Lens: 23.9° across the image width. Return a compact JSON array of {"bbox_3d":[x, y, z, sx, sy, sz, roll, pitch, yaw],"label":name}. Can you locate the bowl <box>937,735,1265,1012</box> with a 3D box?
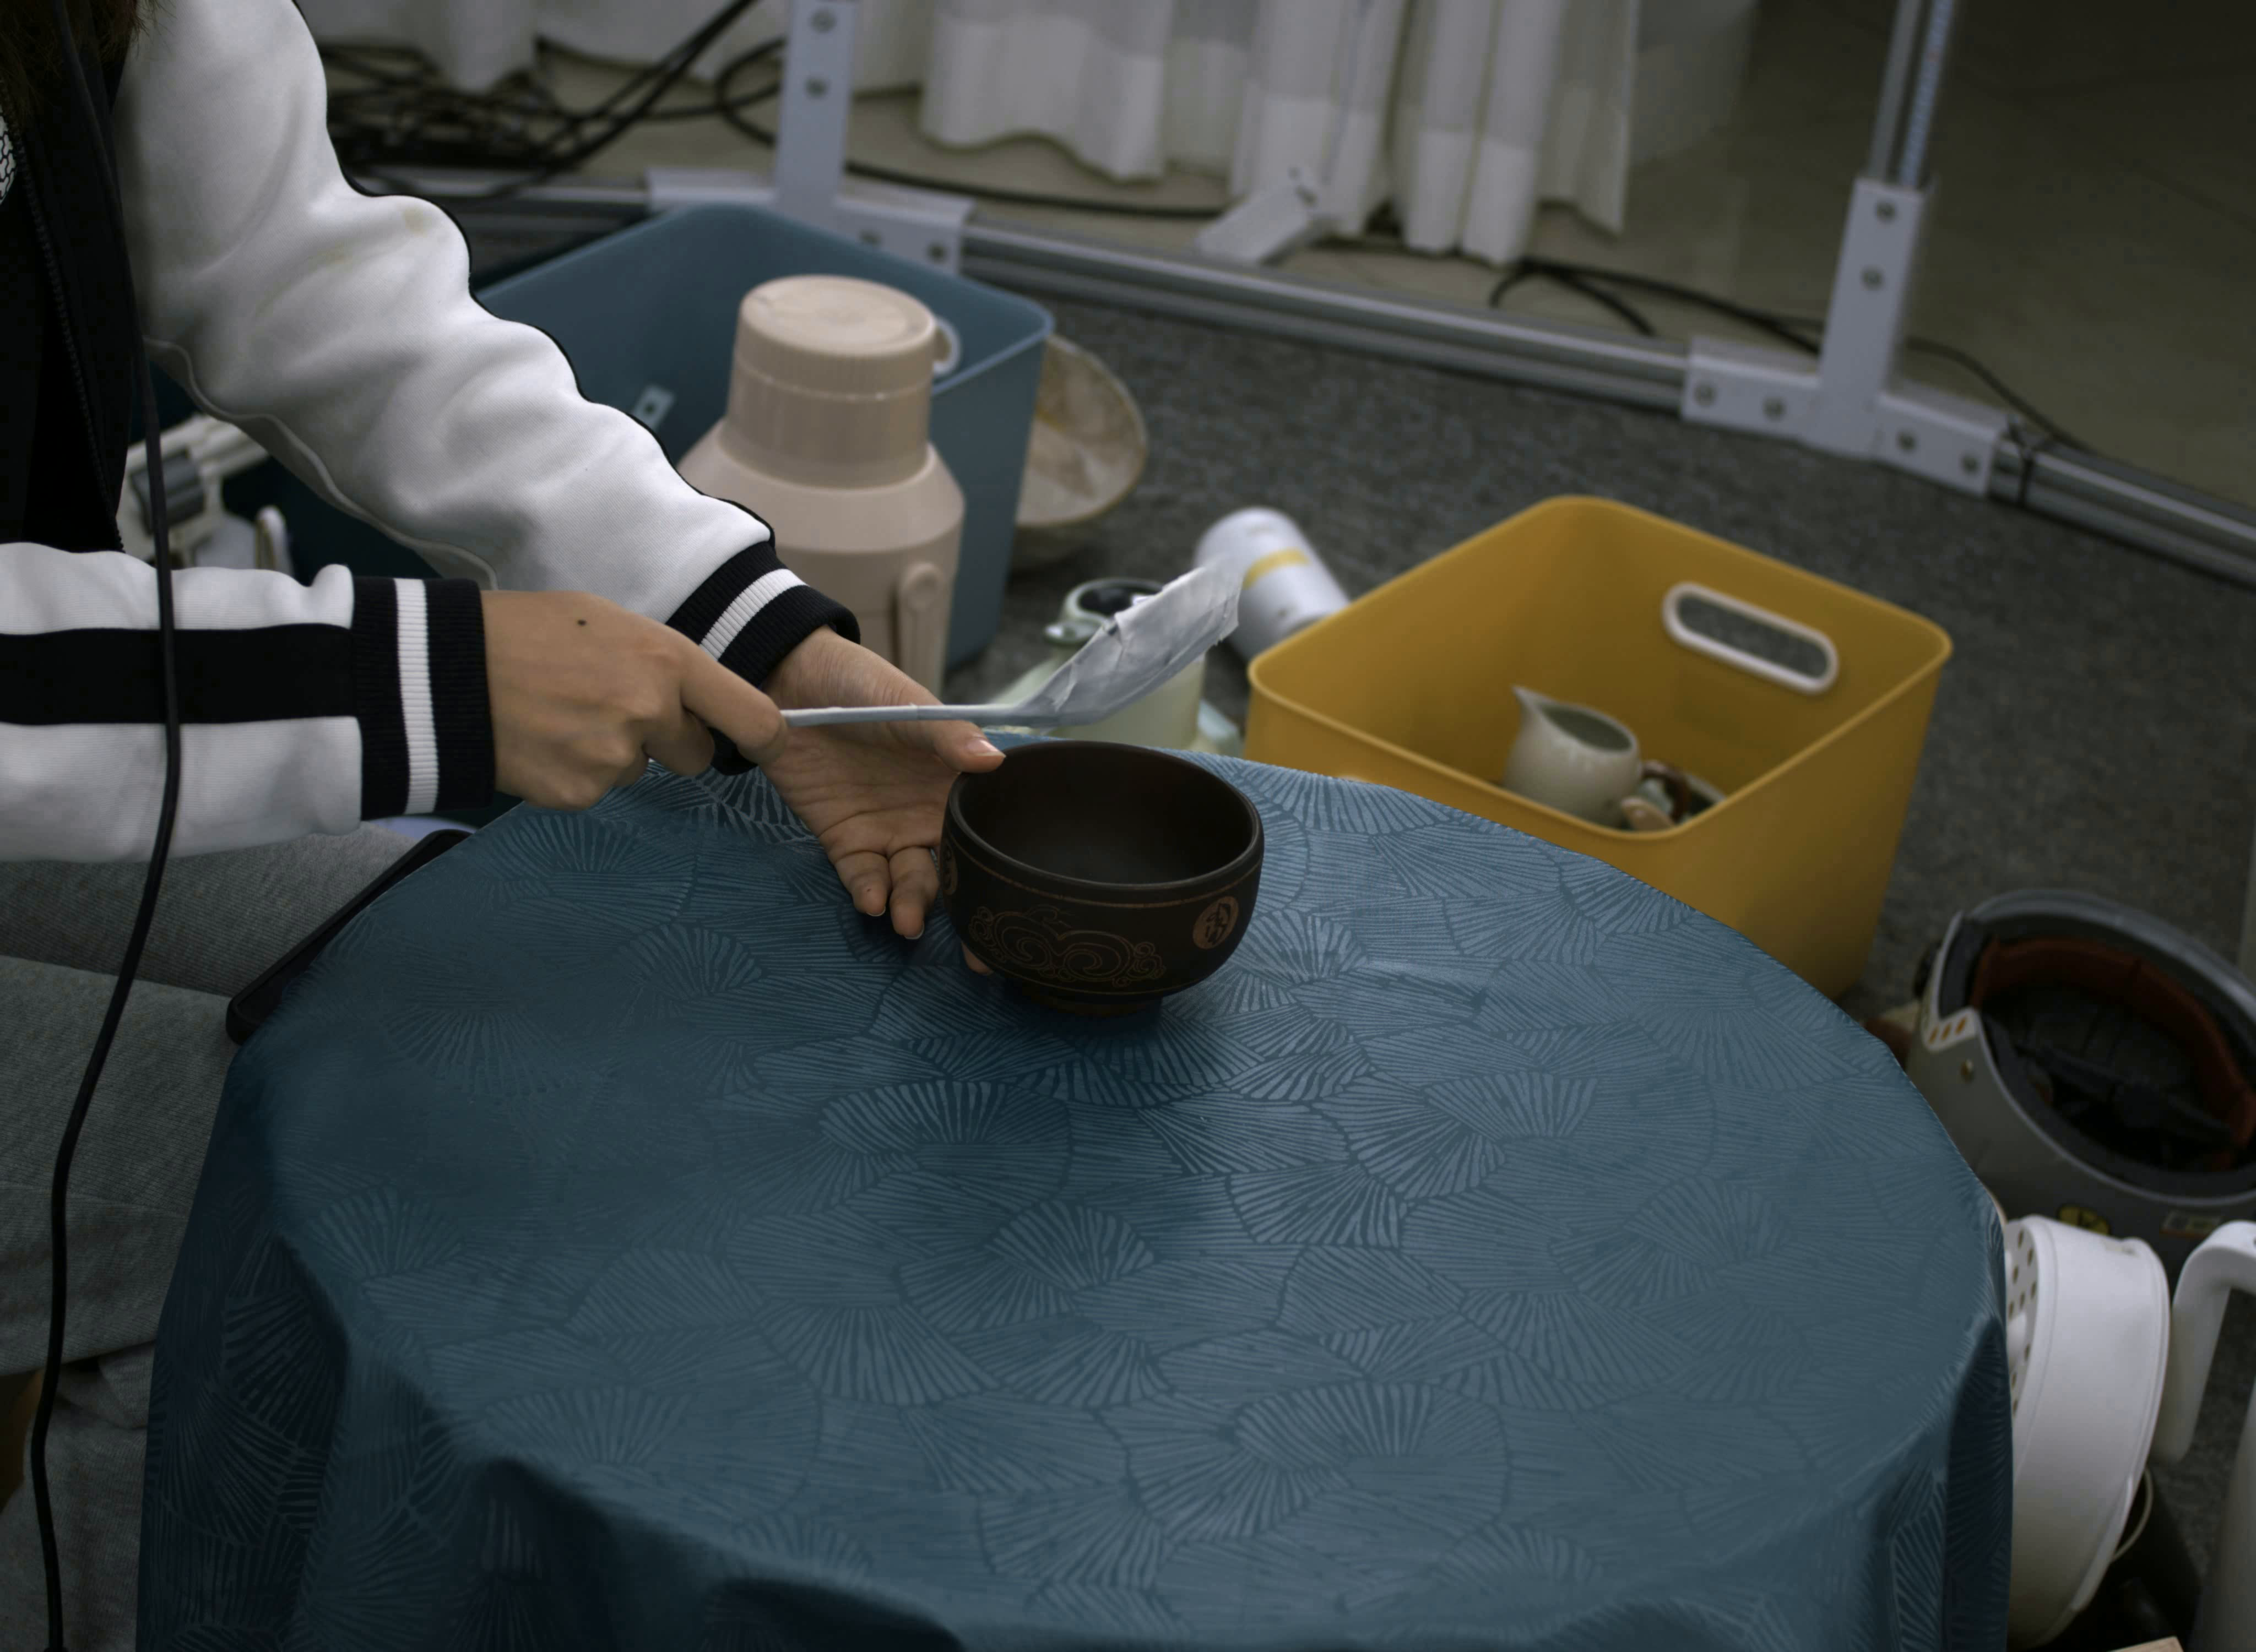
[{"bbox_3d":[-0.012,0.023,1.916,0.117,0.069,0.119,5,26,-3],"label":"bowl"}]

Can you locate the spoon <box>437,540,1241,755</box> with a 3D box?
[{"bbox_3d":[-0.098,-0.059,1.820,0.276,0.060,0.100,-3,-17,0],"label":"spoon"}]
